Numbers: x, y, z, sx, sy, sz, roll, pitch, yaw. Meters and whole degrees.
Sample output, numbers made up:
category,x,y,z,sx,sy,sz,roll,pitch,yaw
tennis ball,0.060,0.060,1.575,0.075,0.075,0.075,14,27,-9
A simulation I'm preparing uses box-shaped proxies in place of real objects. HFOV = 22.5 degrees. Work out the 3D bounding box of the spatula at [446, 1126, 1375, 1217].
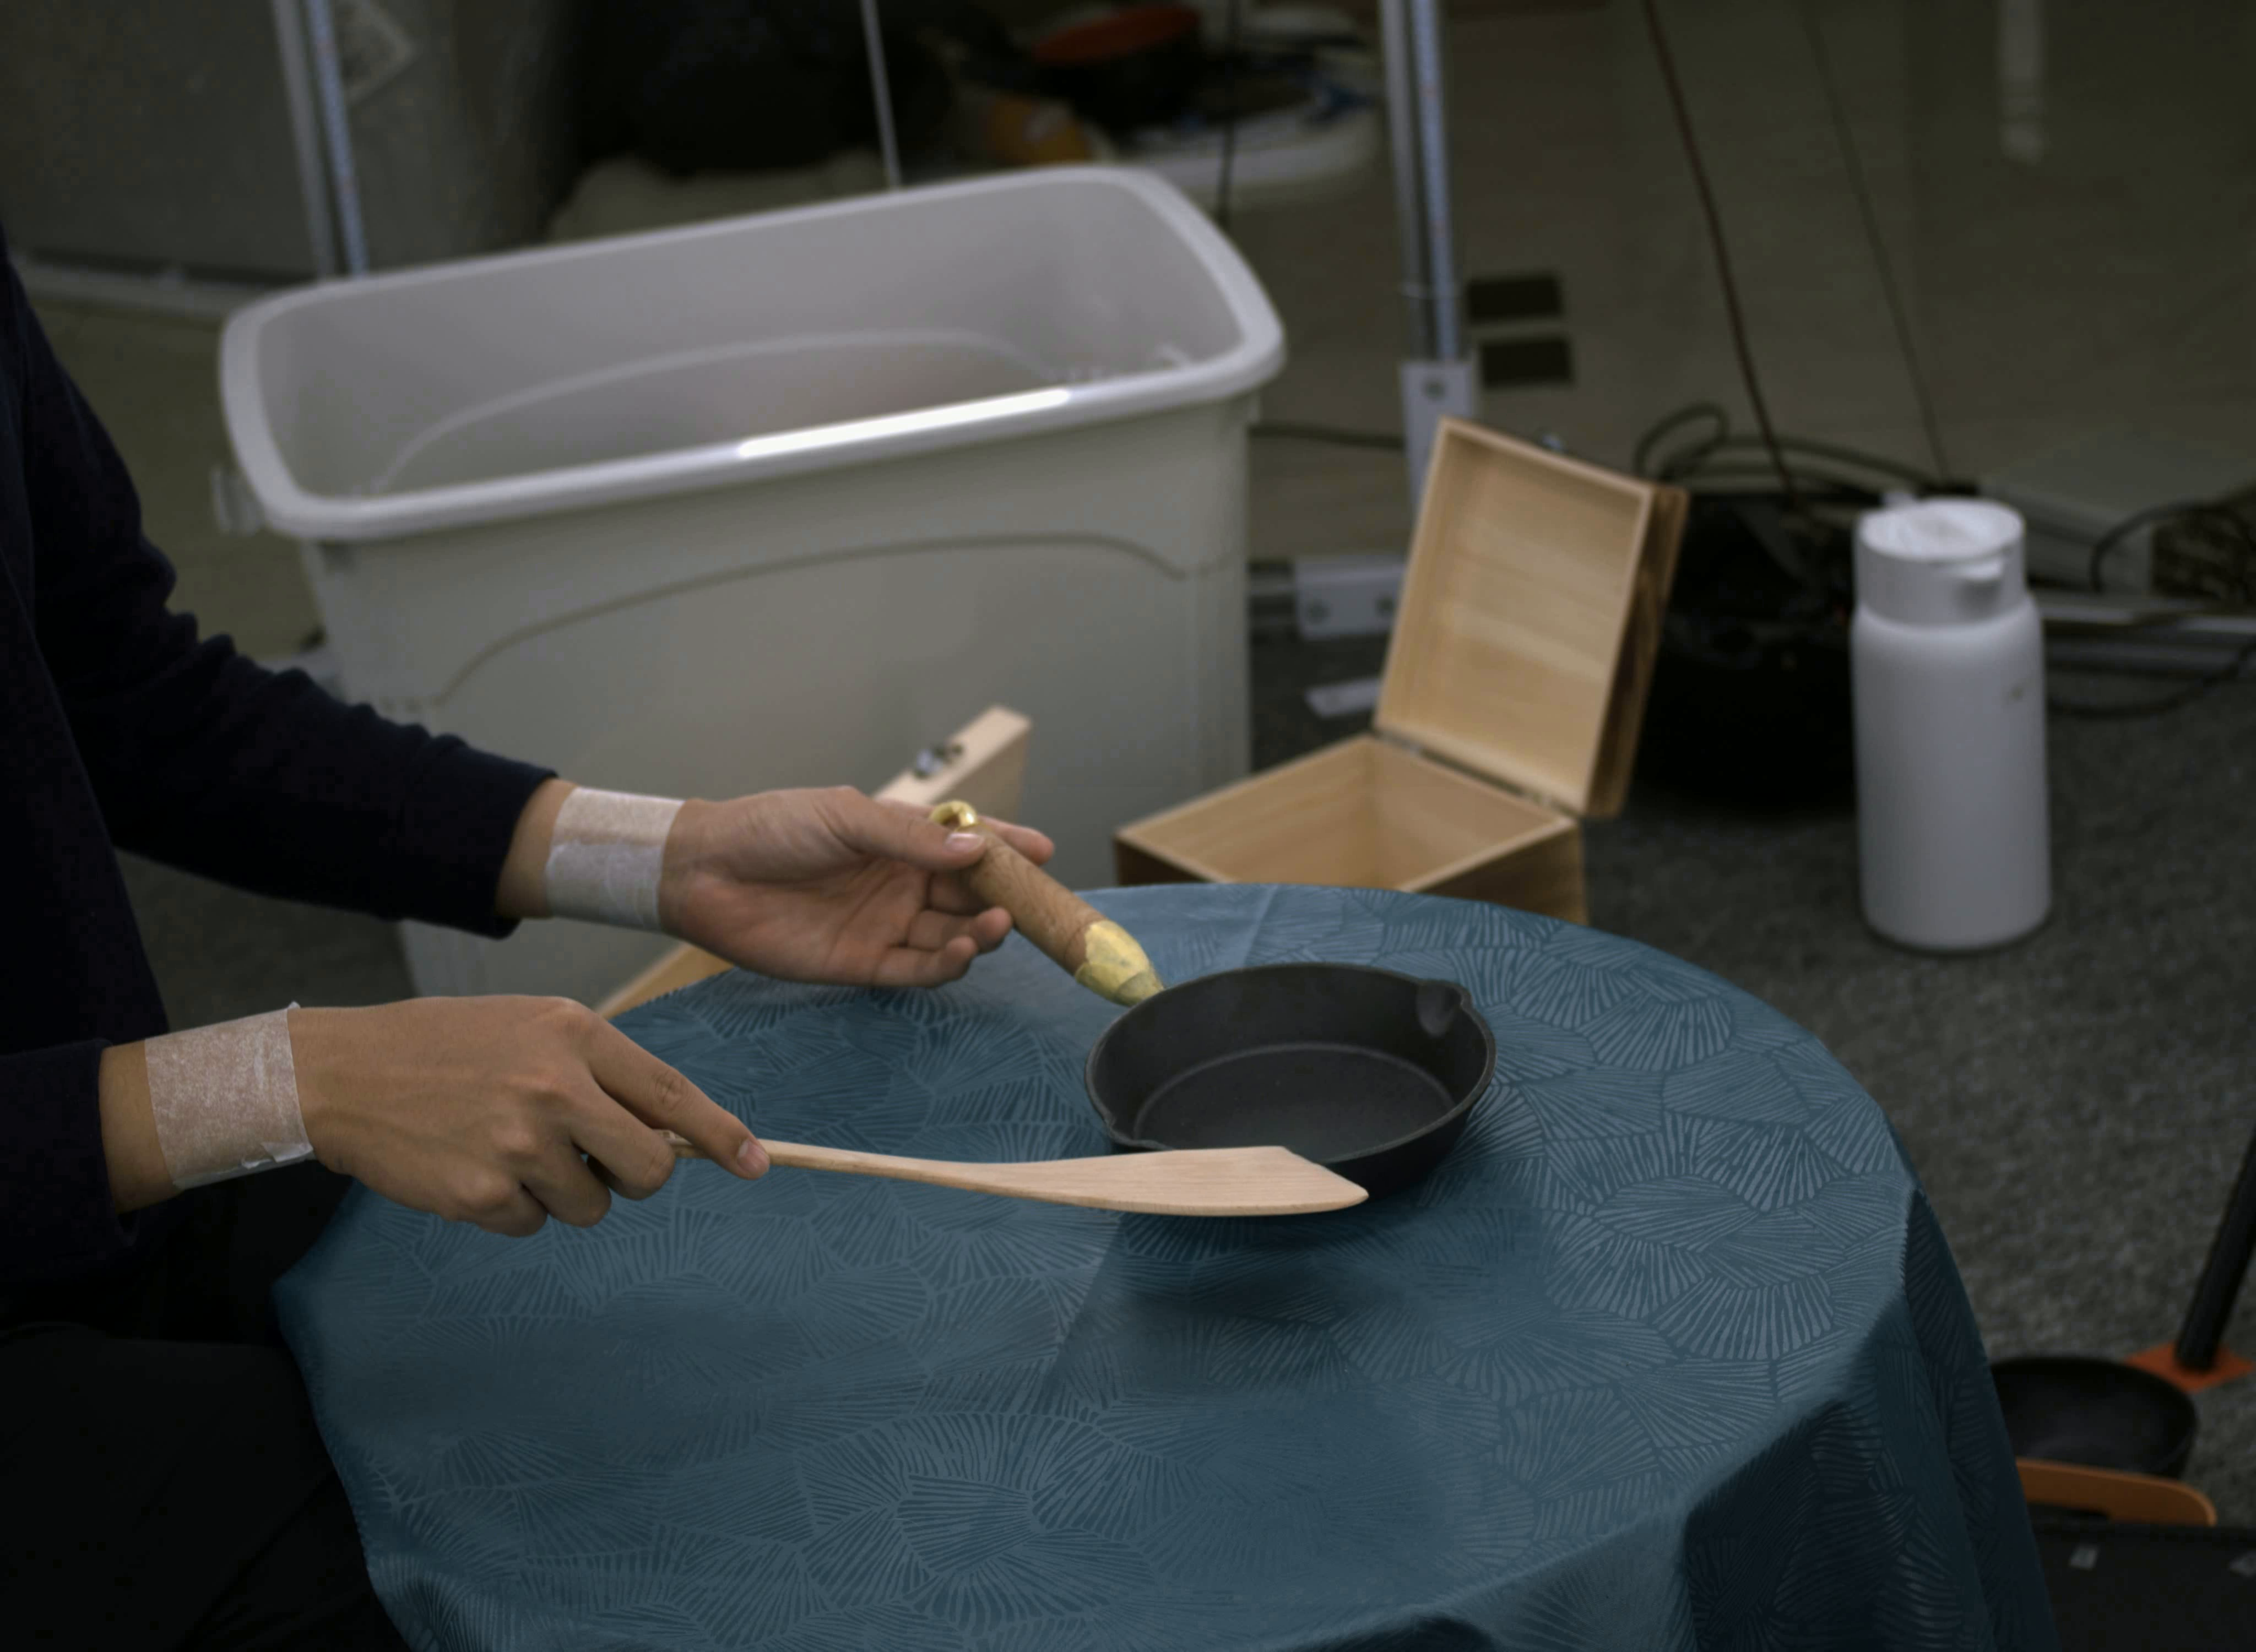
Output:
category,x,y,z,sx,sy,sz,roll,pitch,yaw
spatula,-0.078,0.118,2.018,0.327,0.016,0.079,5,11,-9

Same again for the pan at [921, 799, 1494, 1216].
category,x,y,z,sx,sy,sz,roll,pitch,yaw
pan,0.014,0.067,2.222,0.168,0.050,0.320,-21,33,-28
